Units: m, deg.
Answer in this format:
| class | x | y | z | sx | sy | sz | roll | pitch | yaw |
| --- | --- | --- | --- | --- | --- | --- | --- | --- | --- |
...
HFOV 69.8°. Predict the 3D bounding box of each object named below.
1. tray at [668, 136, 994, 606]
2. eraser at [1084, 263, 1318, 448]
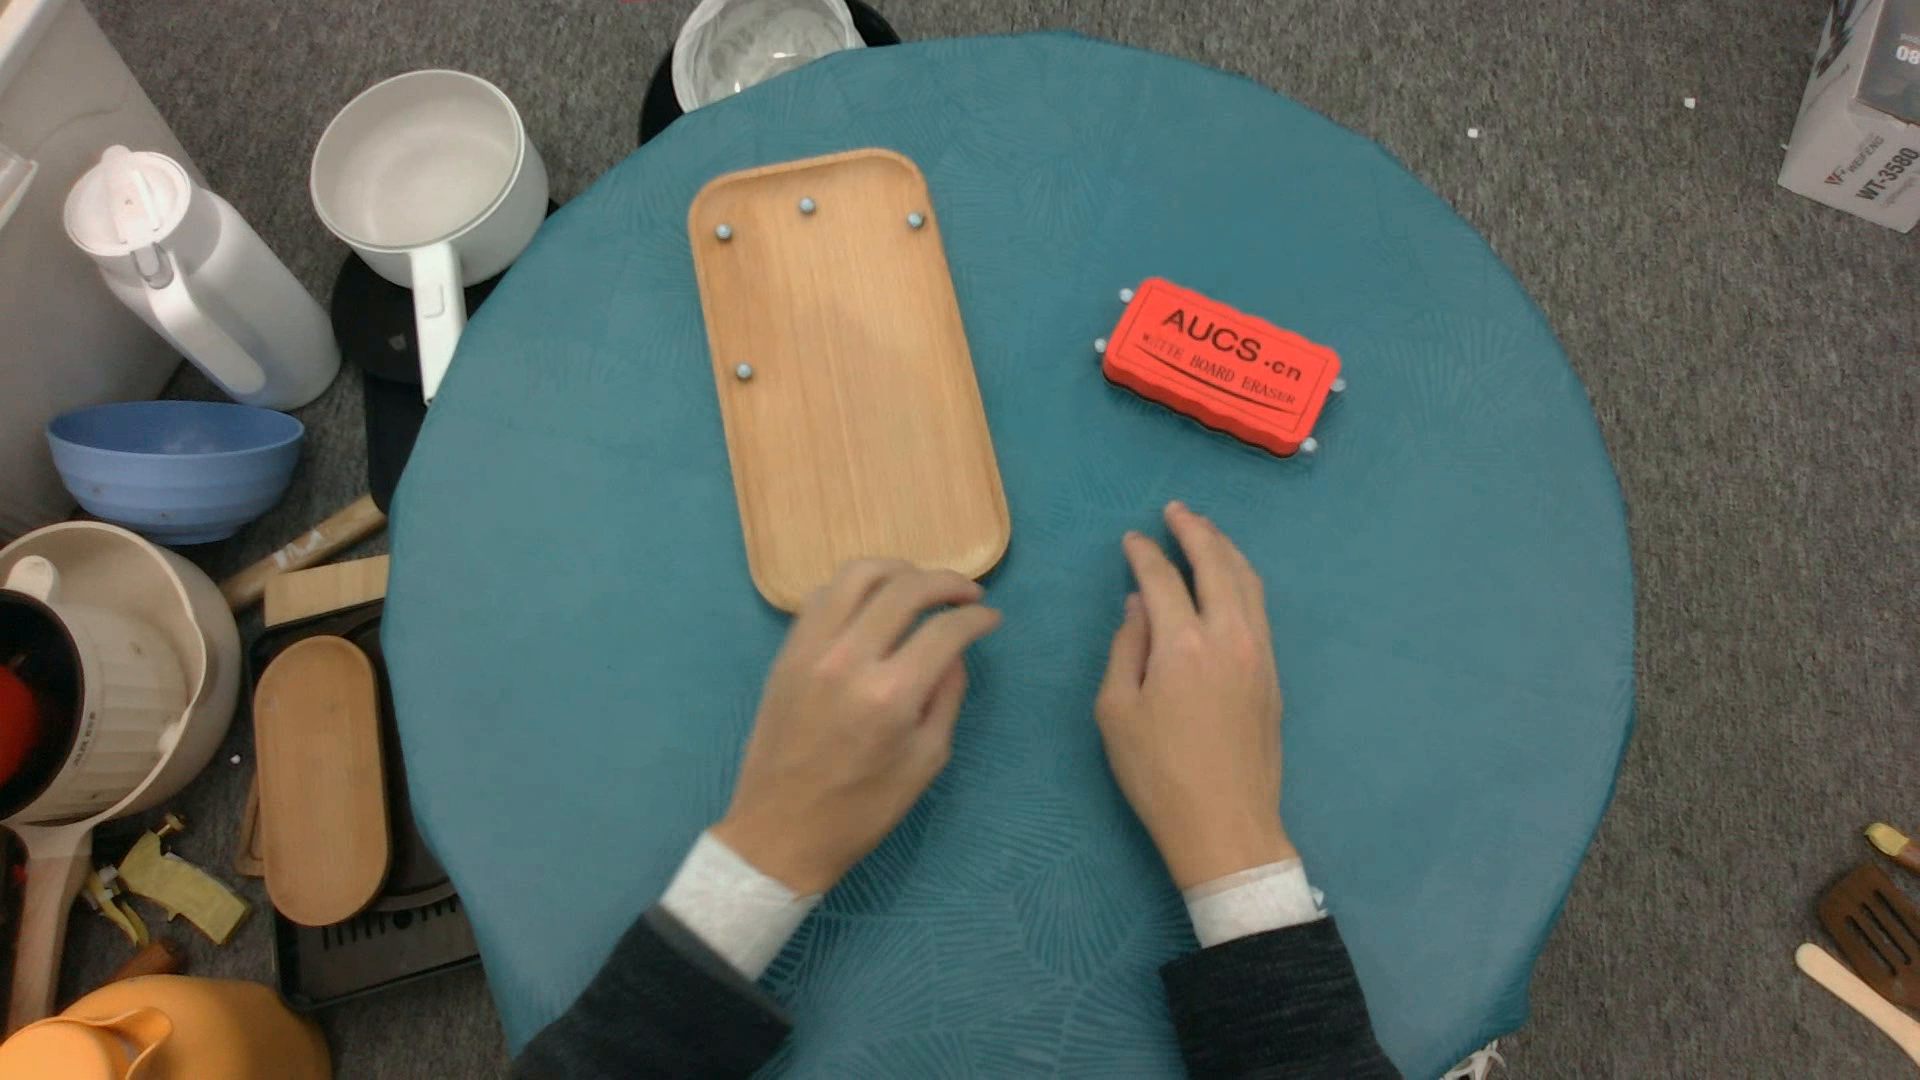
| class | x | y | z | sx | sy | sz | roll | pitch | yaw |
| --- | --- | --- | --- | --- | --- | --- | --- | --- | --- |
| tray | -0.068 | -0.091 | 0.691 | 0.130 | 0.023 | 0.251 | -12 | 71 | -3 |
| eraser | 0.120 | -0.093 | 0.691 | 0.108 | 0.023 | 0.059 | 26 | 72 | 9 |
